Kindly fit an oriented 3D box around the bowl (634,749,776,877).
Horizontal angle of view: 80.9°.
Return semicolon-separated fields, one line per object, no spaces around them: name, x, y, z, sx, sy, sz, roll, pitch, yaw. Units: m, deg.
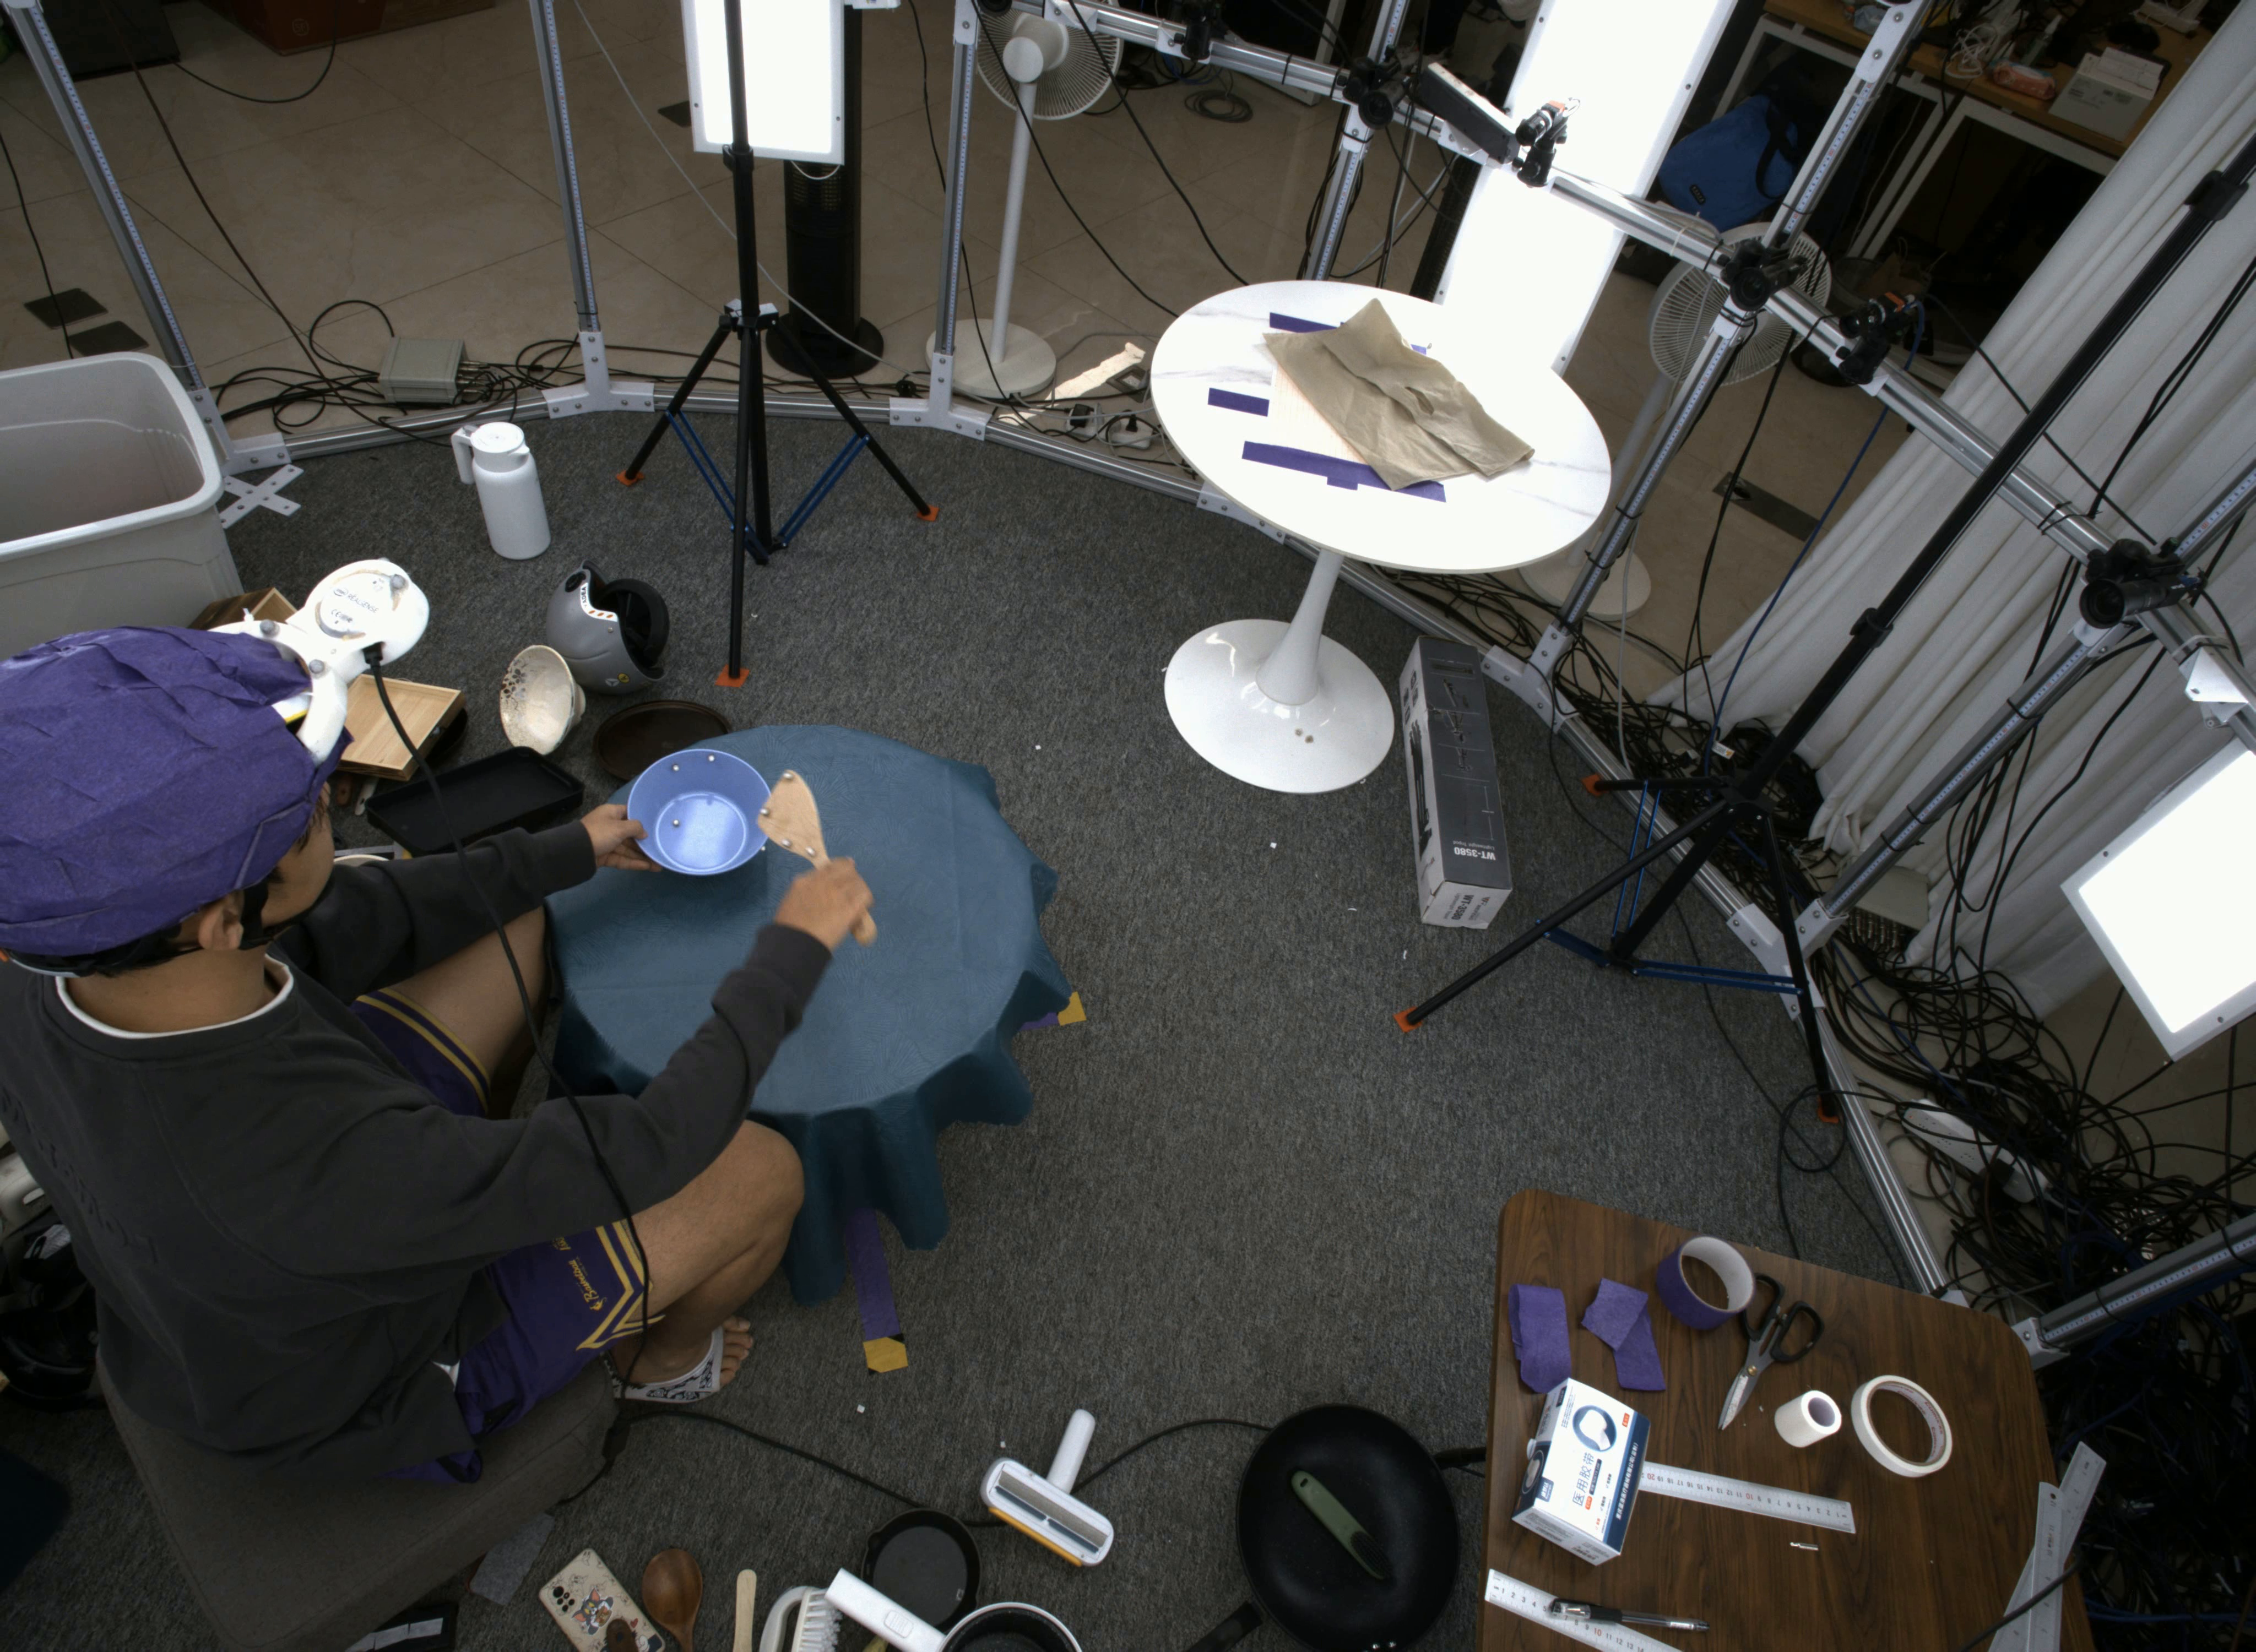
bowl;-0.533;-0.006;1.629;0.177;0.071;0.174;9;62;-14

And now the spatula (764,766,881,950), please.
spatula;-0.340;0.038;1.447;0.080;0.017;0.315;-49;45;6
